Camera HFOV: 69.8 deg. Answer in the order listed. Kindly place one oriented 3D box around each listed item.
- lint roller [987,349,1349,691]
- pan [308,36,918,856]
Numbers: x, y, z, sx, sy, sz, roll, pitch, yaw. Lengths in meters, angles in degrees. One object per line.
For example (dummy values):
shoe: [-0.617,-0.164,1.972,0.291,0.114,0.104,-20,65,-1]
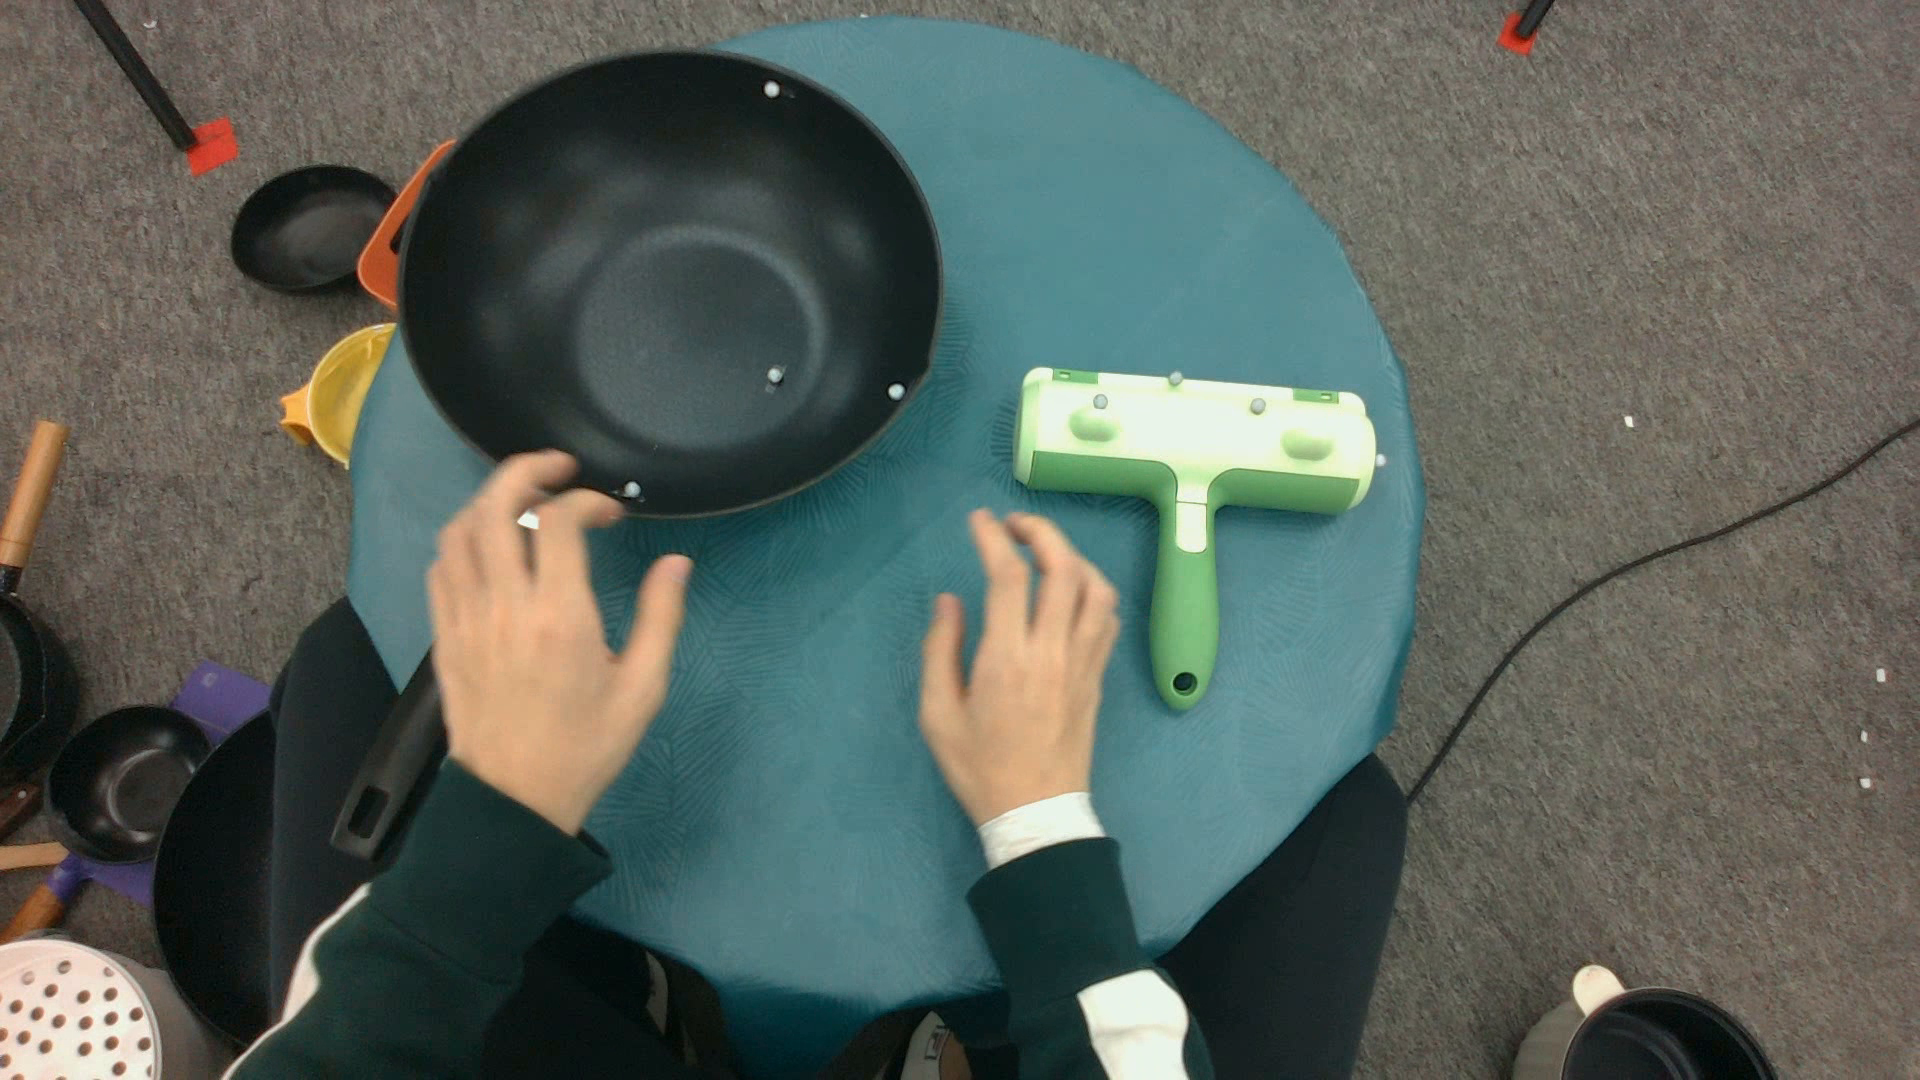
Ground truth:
lint roller: [0.113,-0.016,0.739,0.198,0.082,0.184,4,65,-3]
pan: [-0.197,-0.053,0.725,0.288,0.086,0.465,21,72,3]
